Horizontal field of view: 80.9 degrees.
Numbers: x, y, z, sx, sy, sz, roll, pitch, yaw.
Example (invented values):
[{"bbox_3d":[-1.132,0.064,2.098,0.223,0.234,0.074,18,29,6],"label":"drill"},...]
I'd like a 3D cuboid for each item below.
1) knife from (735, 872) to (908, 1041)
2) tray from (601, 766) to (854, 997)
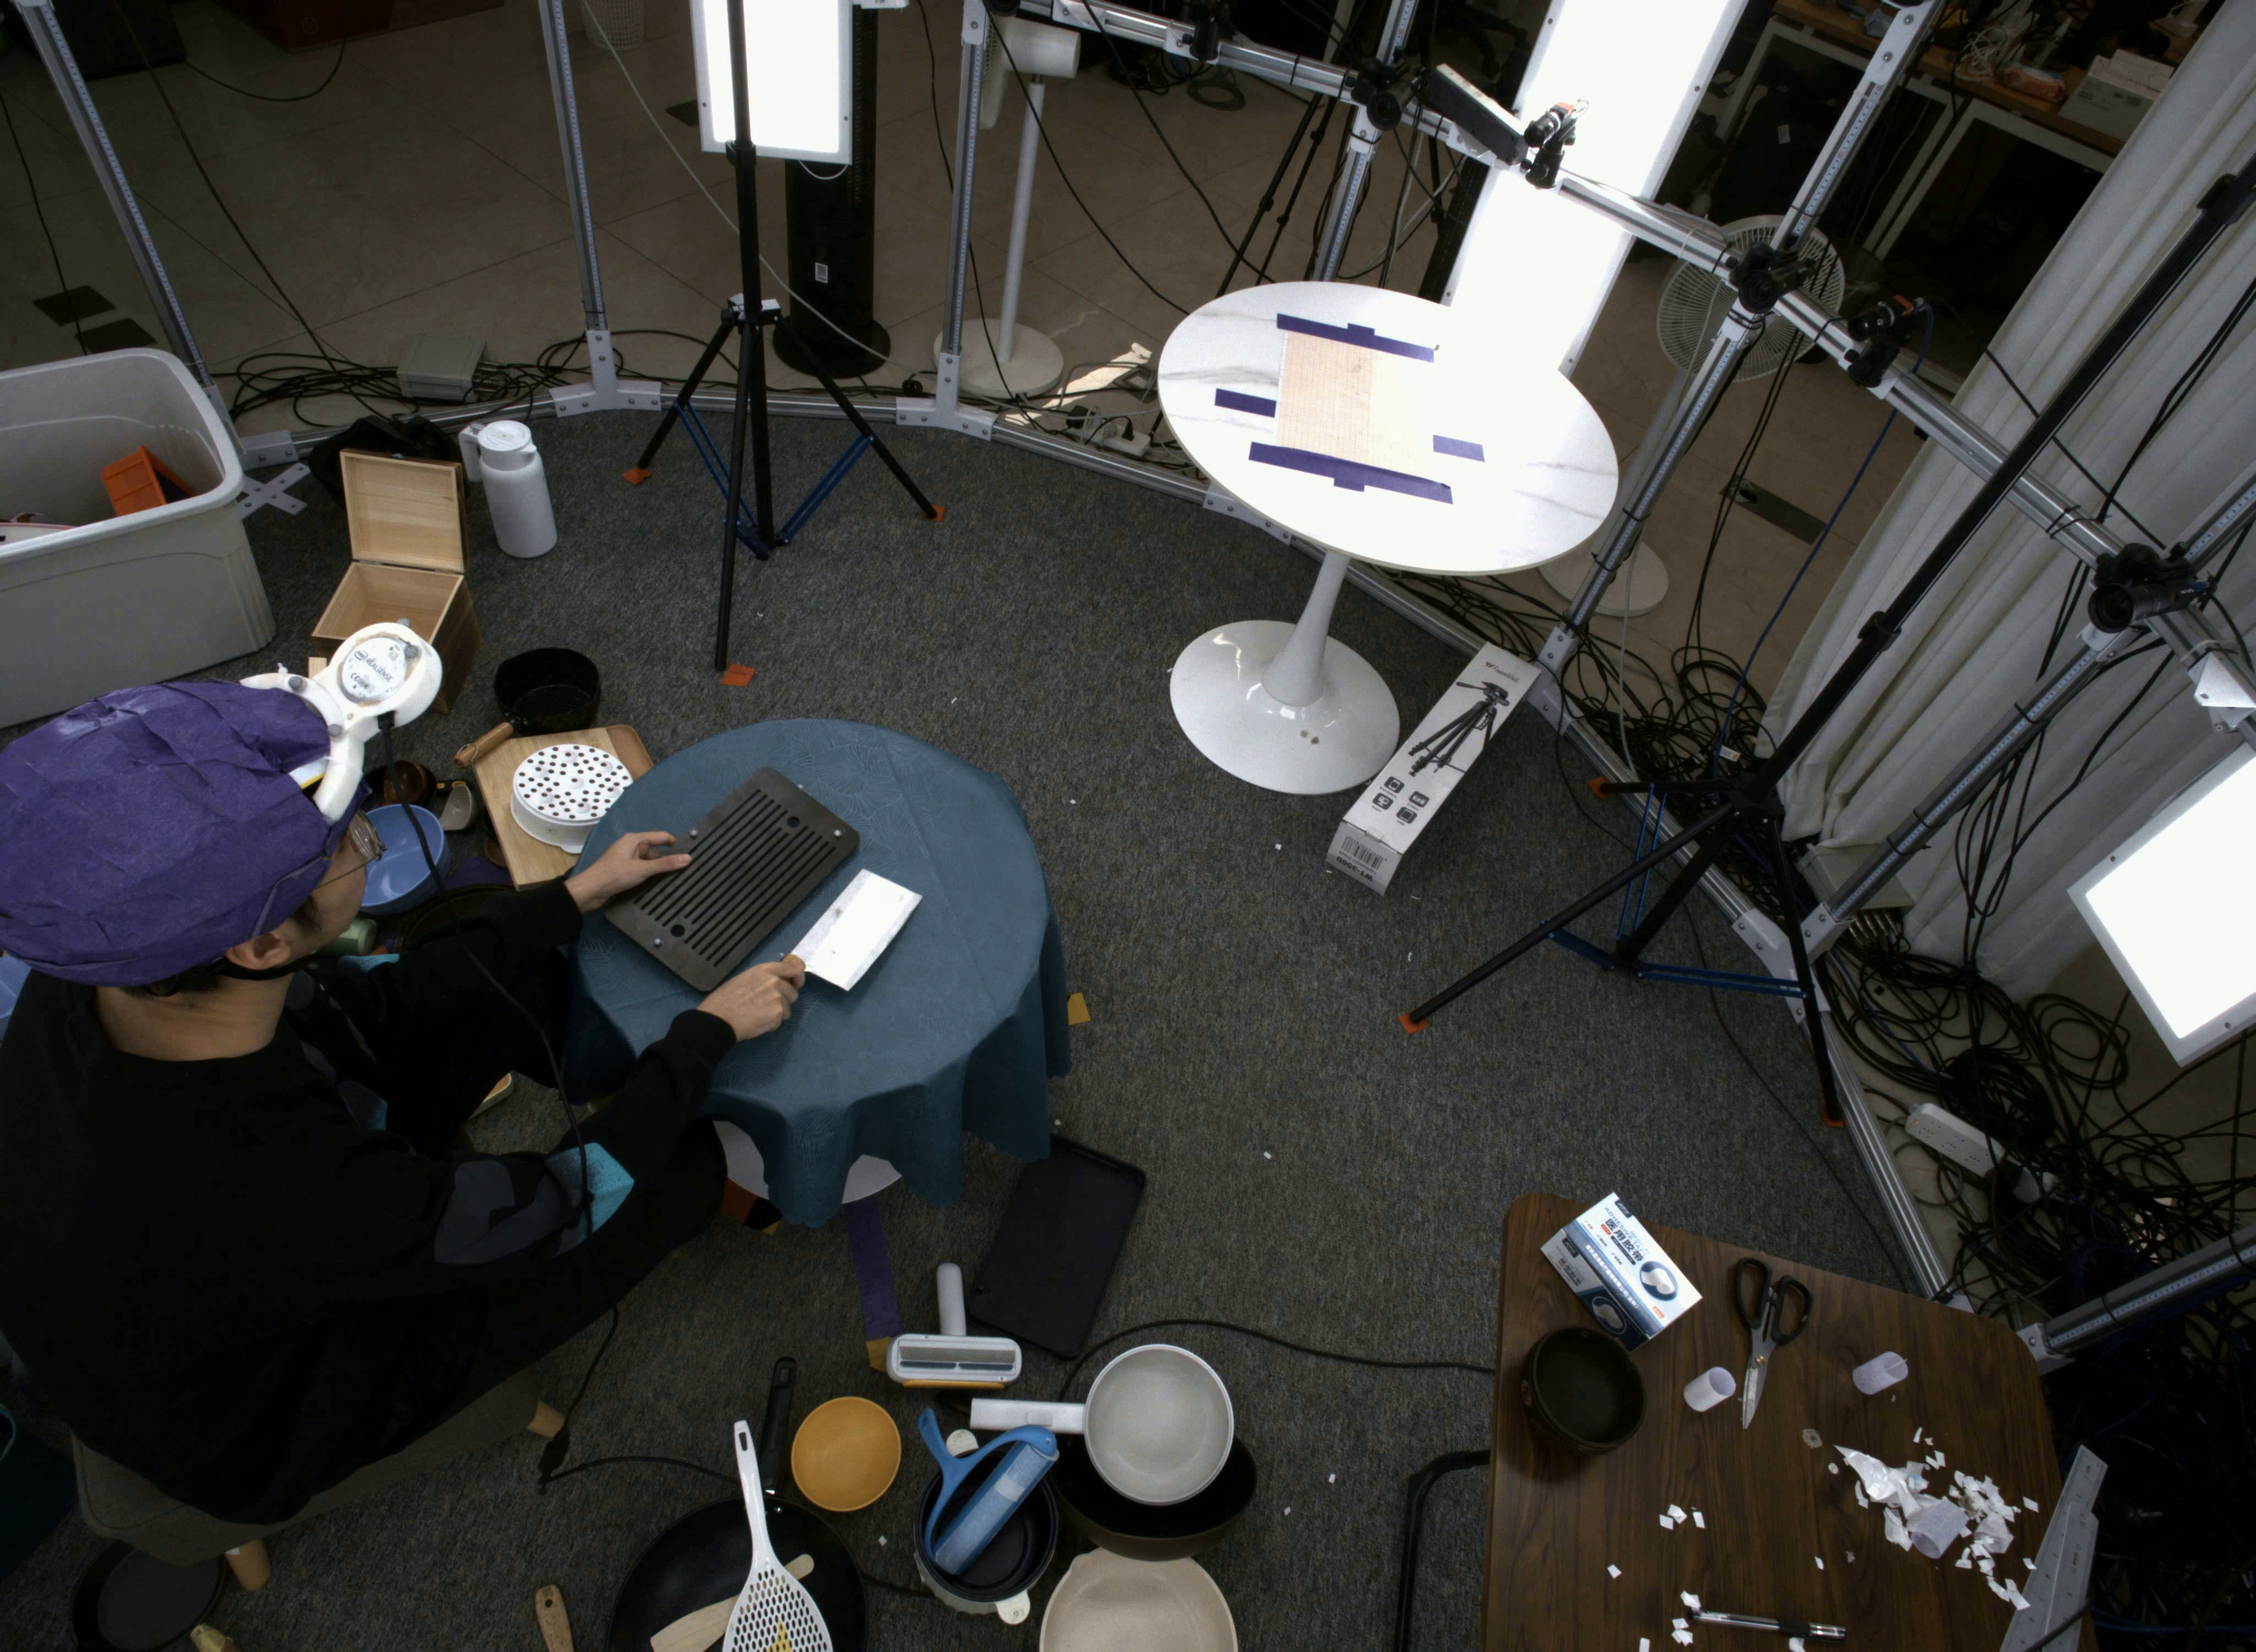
[{"bbox_3d":[-0.361,0.157,1.576,0.092,0.021,0.303,26,41,5],"label":"knife"},{"bbox_3d":[-0.498,0.062,1.619,0.169,0.019,0.305,37,53,1],"label":"tray"}]
